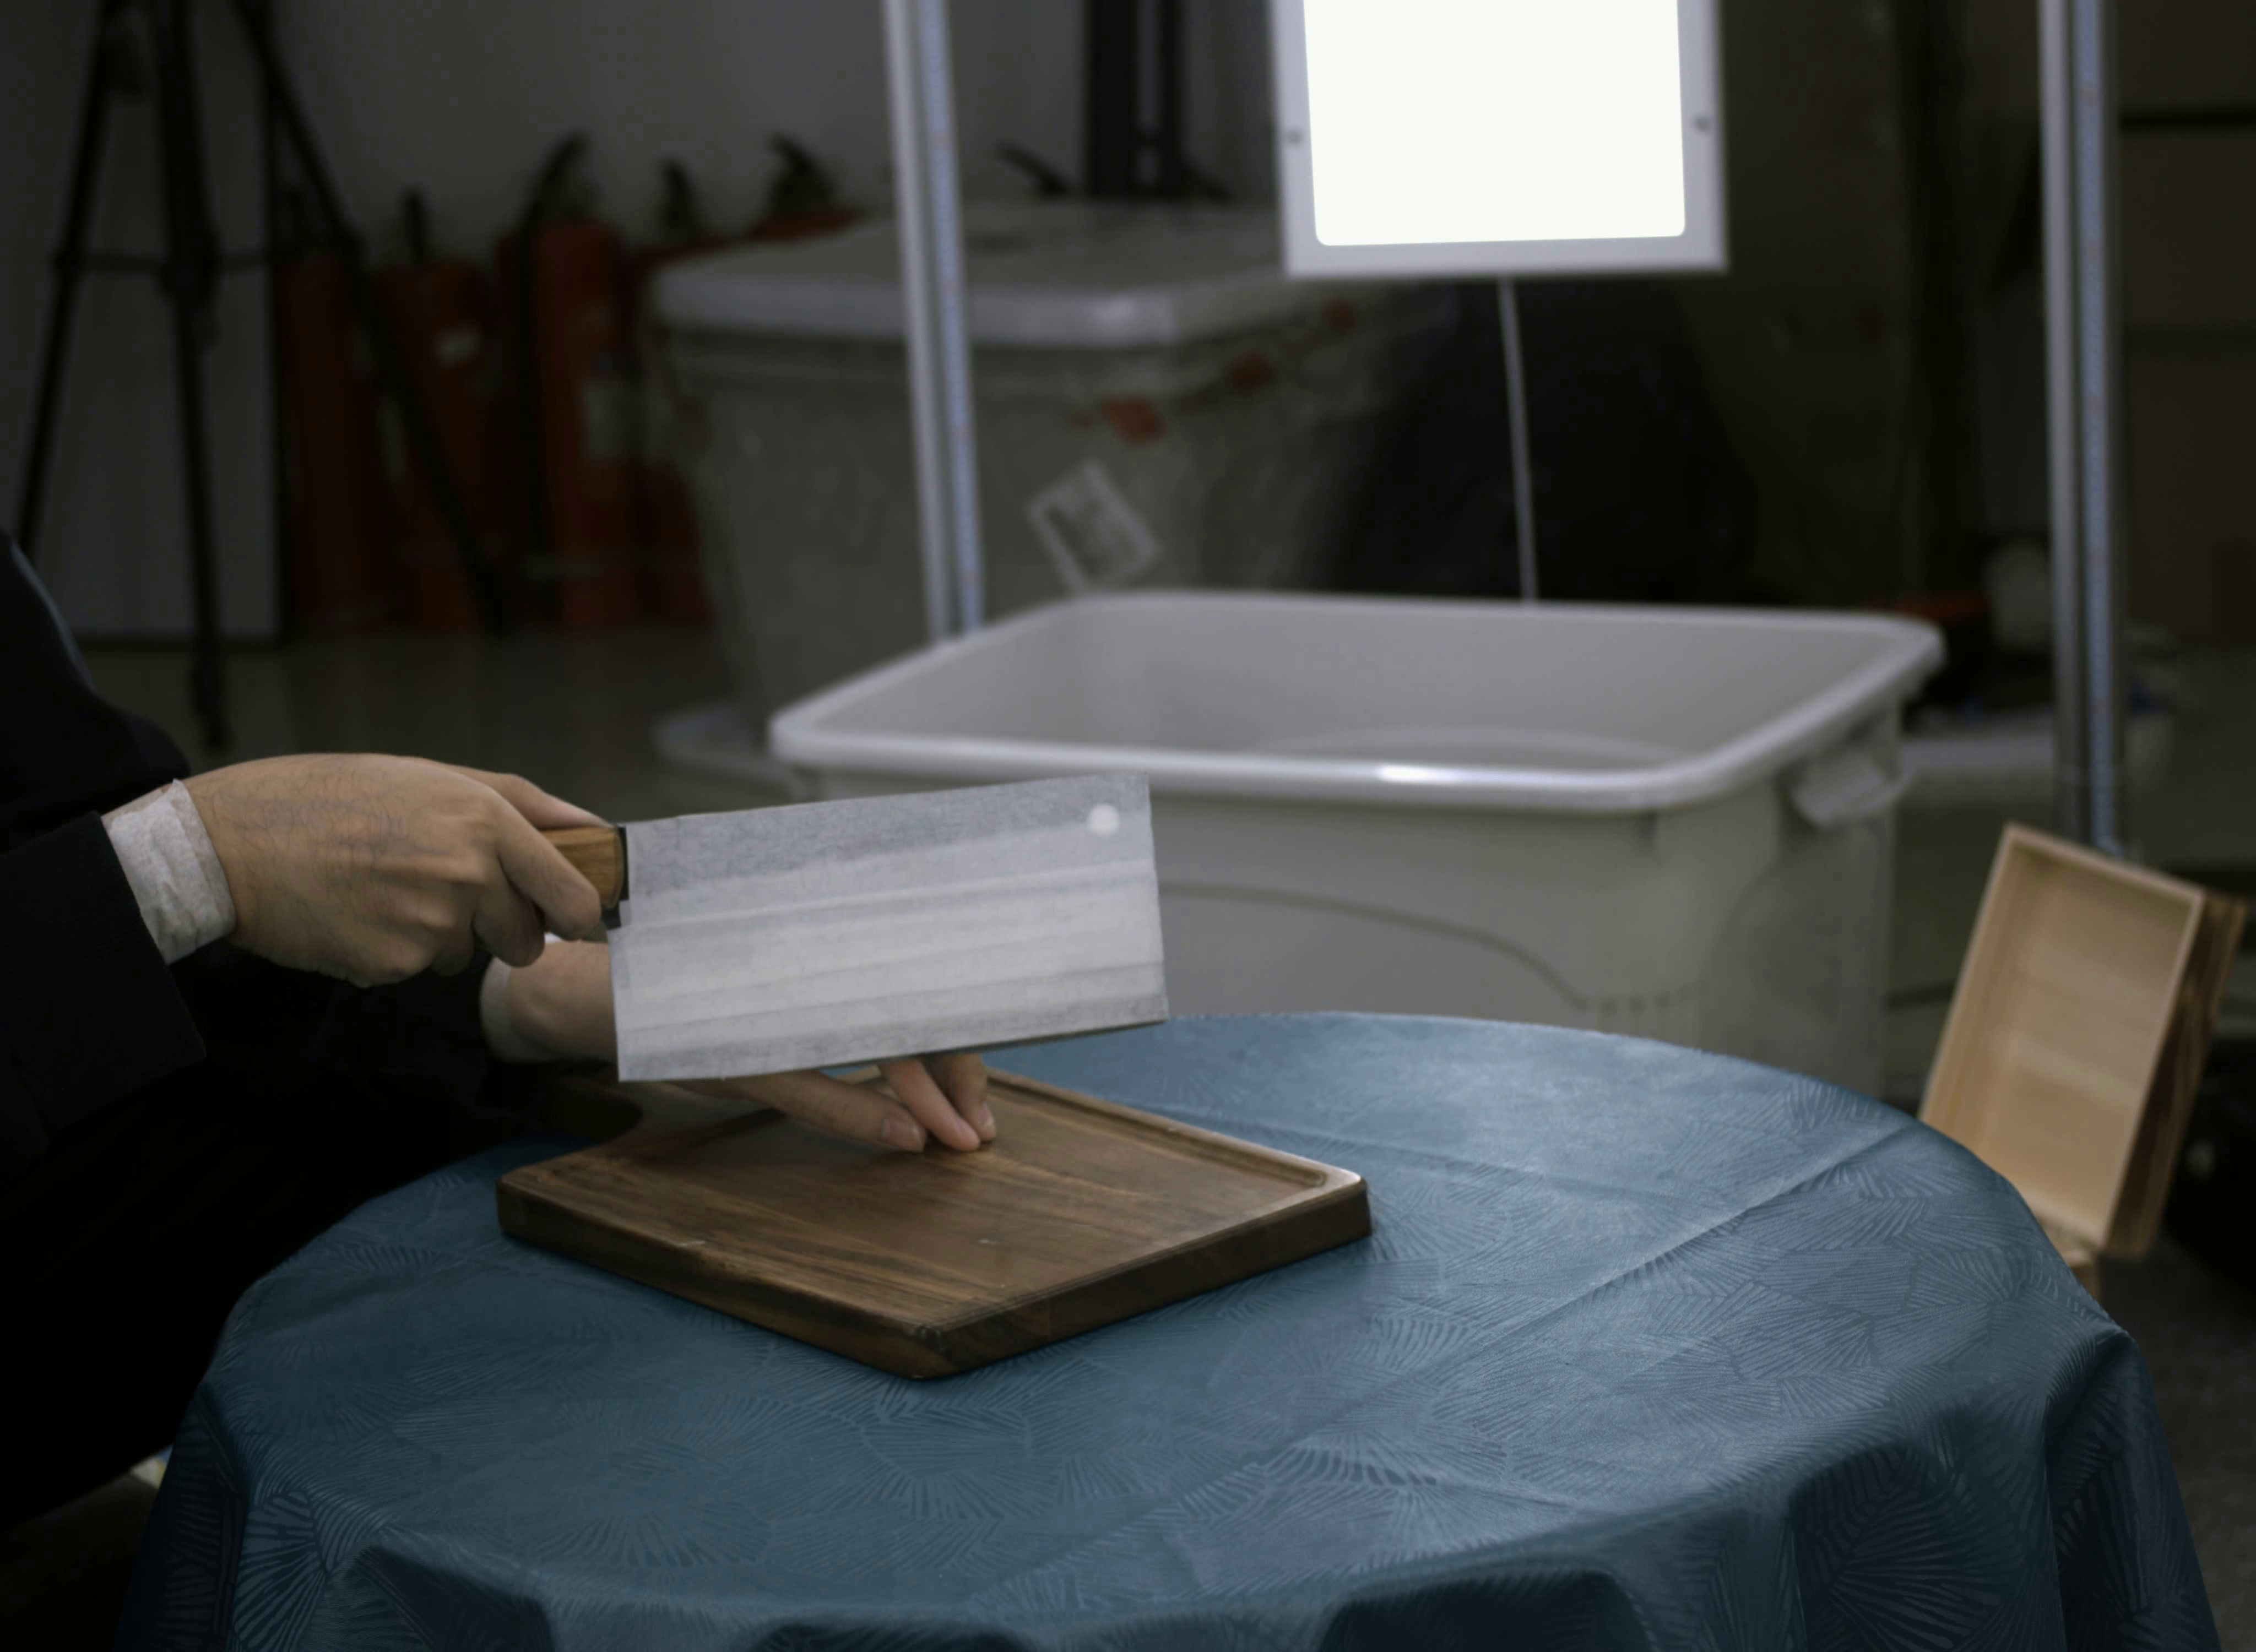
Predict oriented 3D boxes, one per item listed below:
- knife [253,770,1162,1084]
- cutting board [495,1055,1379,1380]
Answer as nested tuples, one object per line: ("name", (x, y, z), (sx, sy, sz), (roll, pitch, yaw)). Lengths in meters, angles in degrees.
("knife", (-0.140, 0.039, 1.871), (0.304, 0.093, 0.021), (-6, 10, -3))
("cutting board", (-0.098, 0.122, 1.908), (0.196, 0.023, 0.359), (-15, 17, -36))
